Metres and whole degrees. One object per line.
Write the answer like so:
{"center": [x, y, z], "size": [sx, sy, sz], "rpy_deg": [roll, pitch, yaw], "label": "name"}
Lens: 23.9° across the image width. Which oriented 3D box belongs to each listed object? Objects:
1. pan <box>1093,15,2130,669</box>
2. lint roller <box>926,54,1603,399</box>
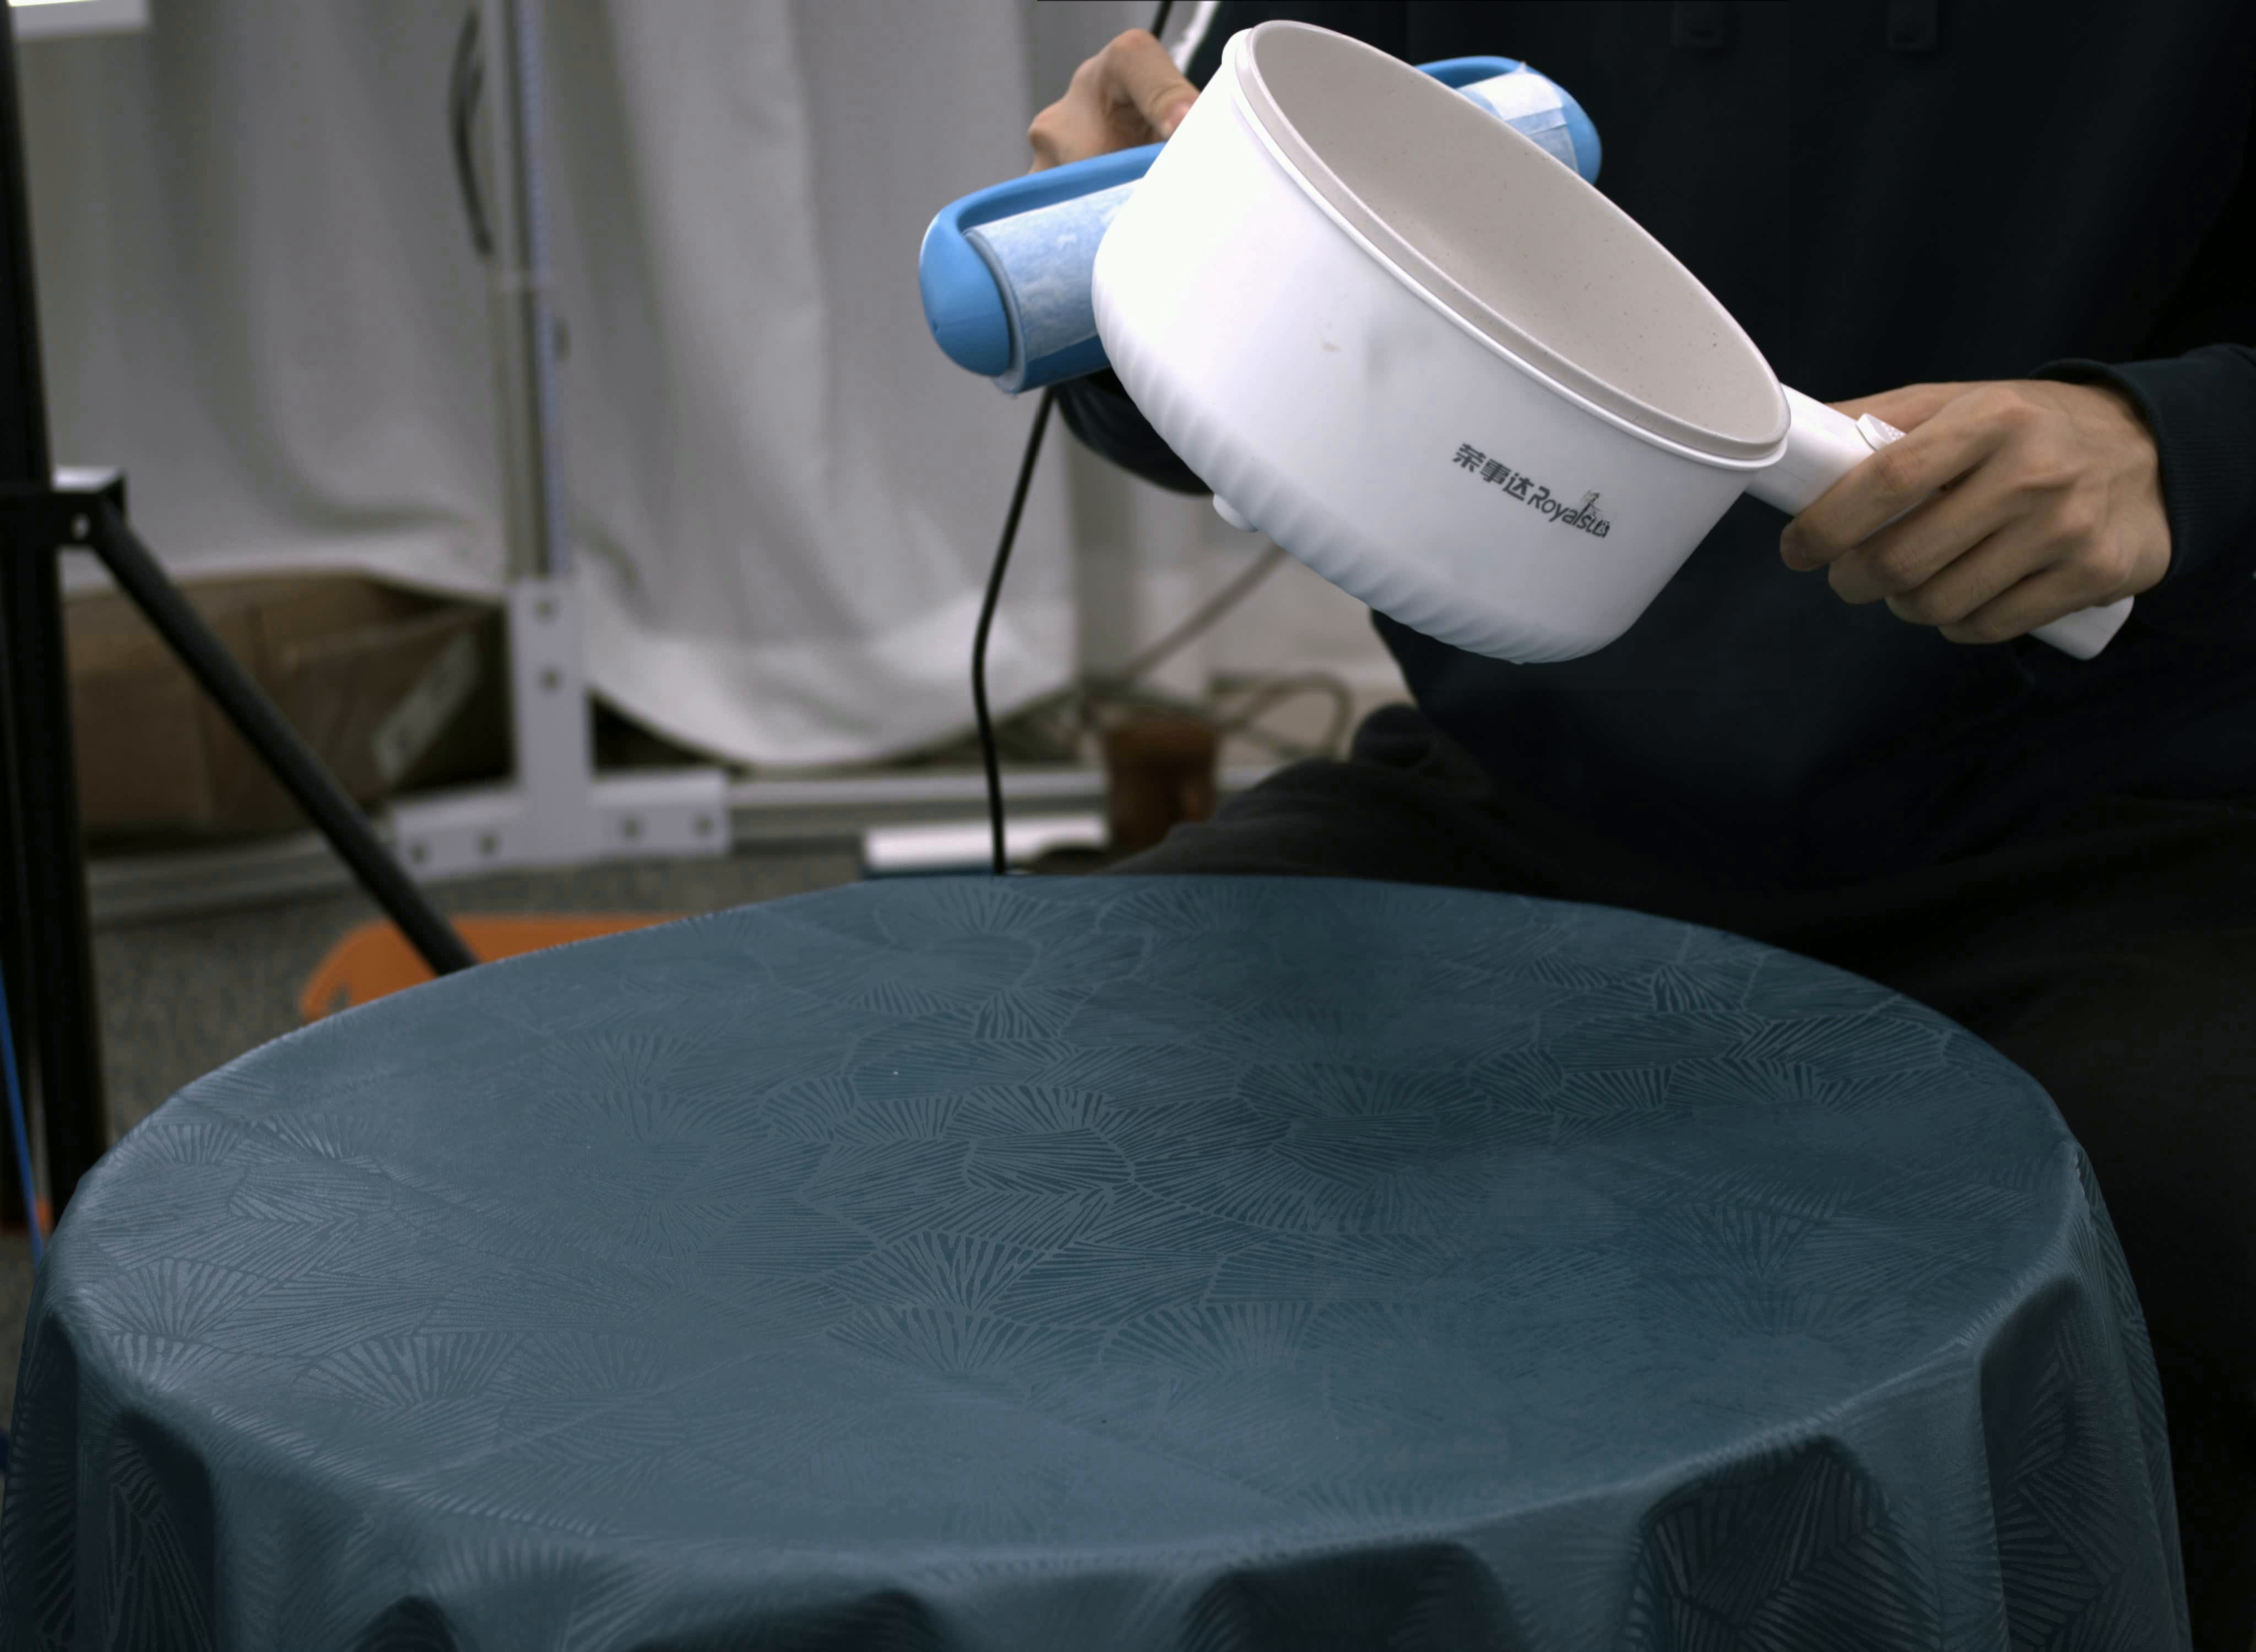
{"center": [0.145, -0.107, 1.589], "size": [0.346, 0.103, 0.205], "rpy_deg": [25, 23, -29], "label": "pan"}
{"center": [0.023, -0.191, 1.728], "size": [0.225, 0.068, 0.183], "rpy_deg": [-20, 11, -18], "label": "lint roller"}
